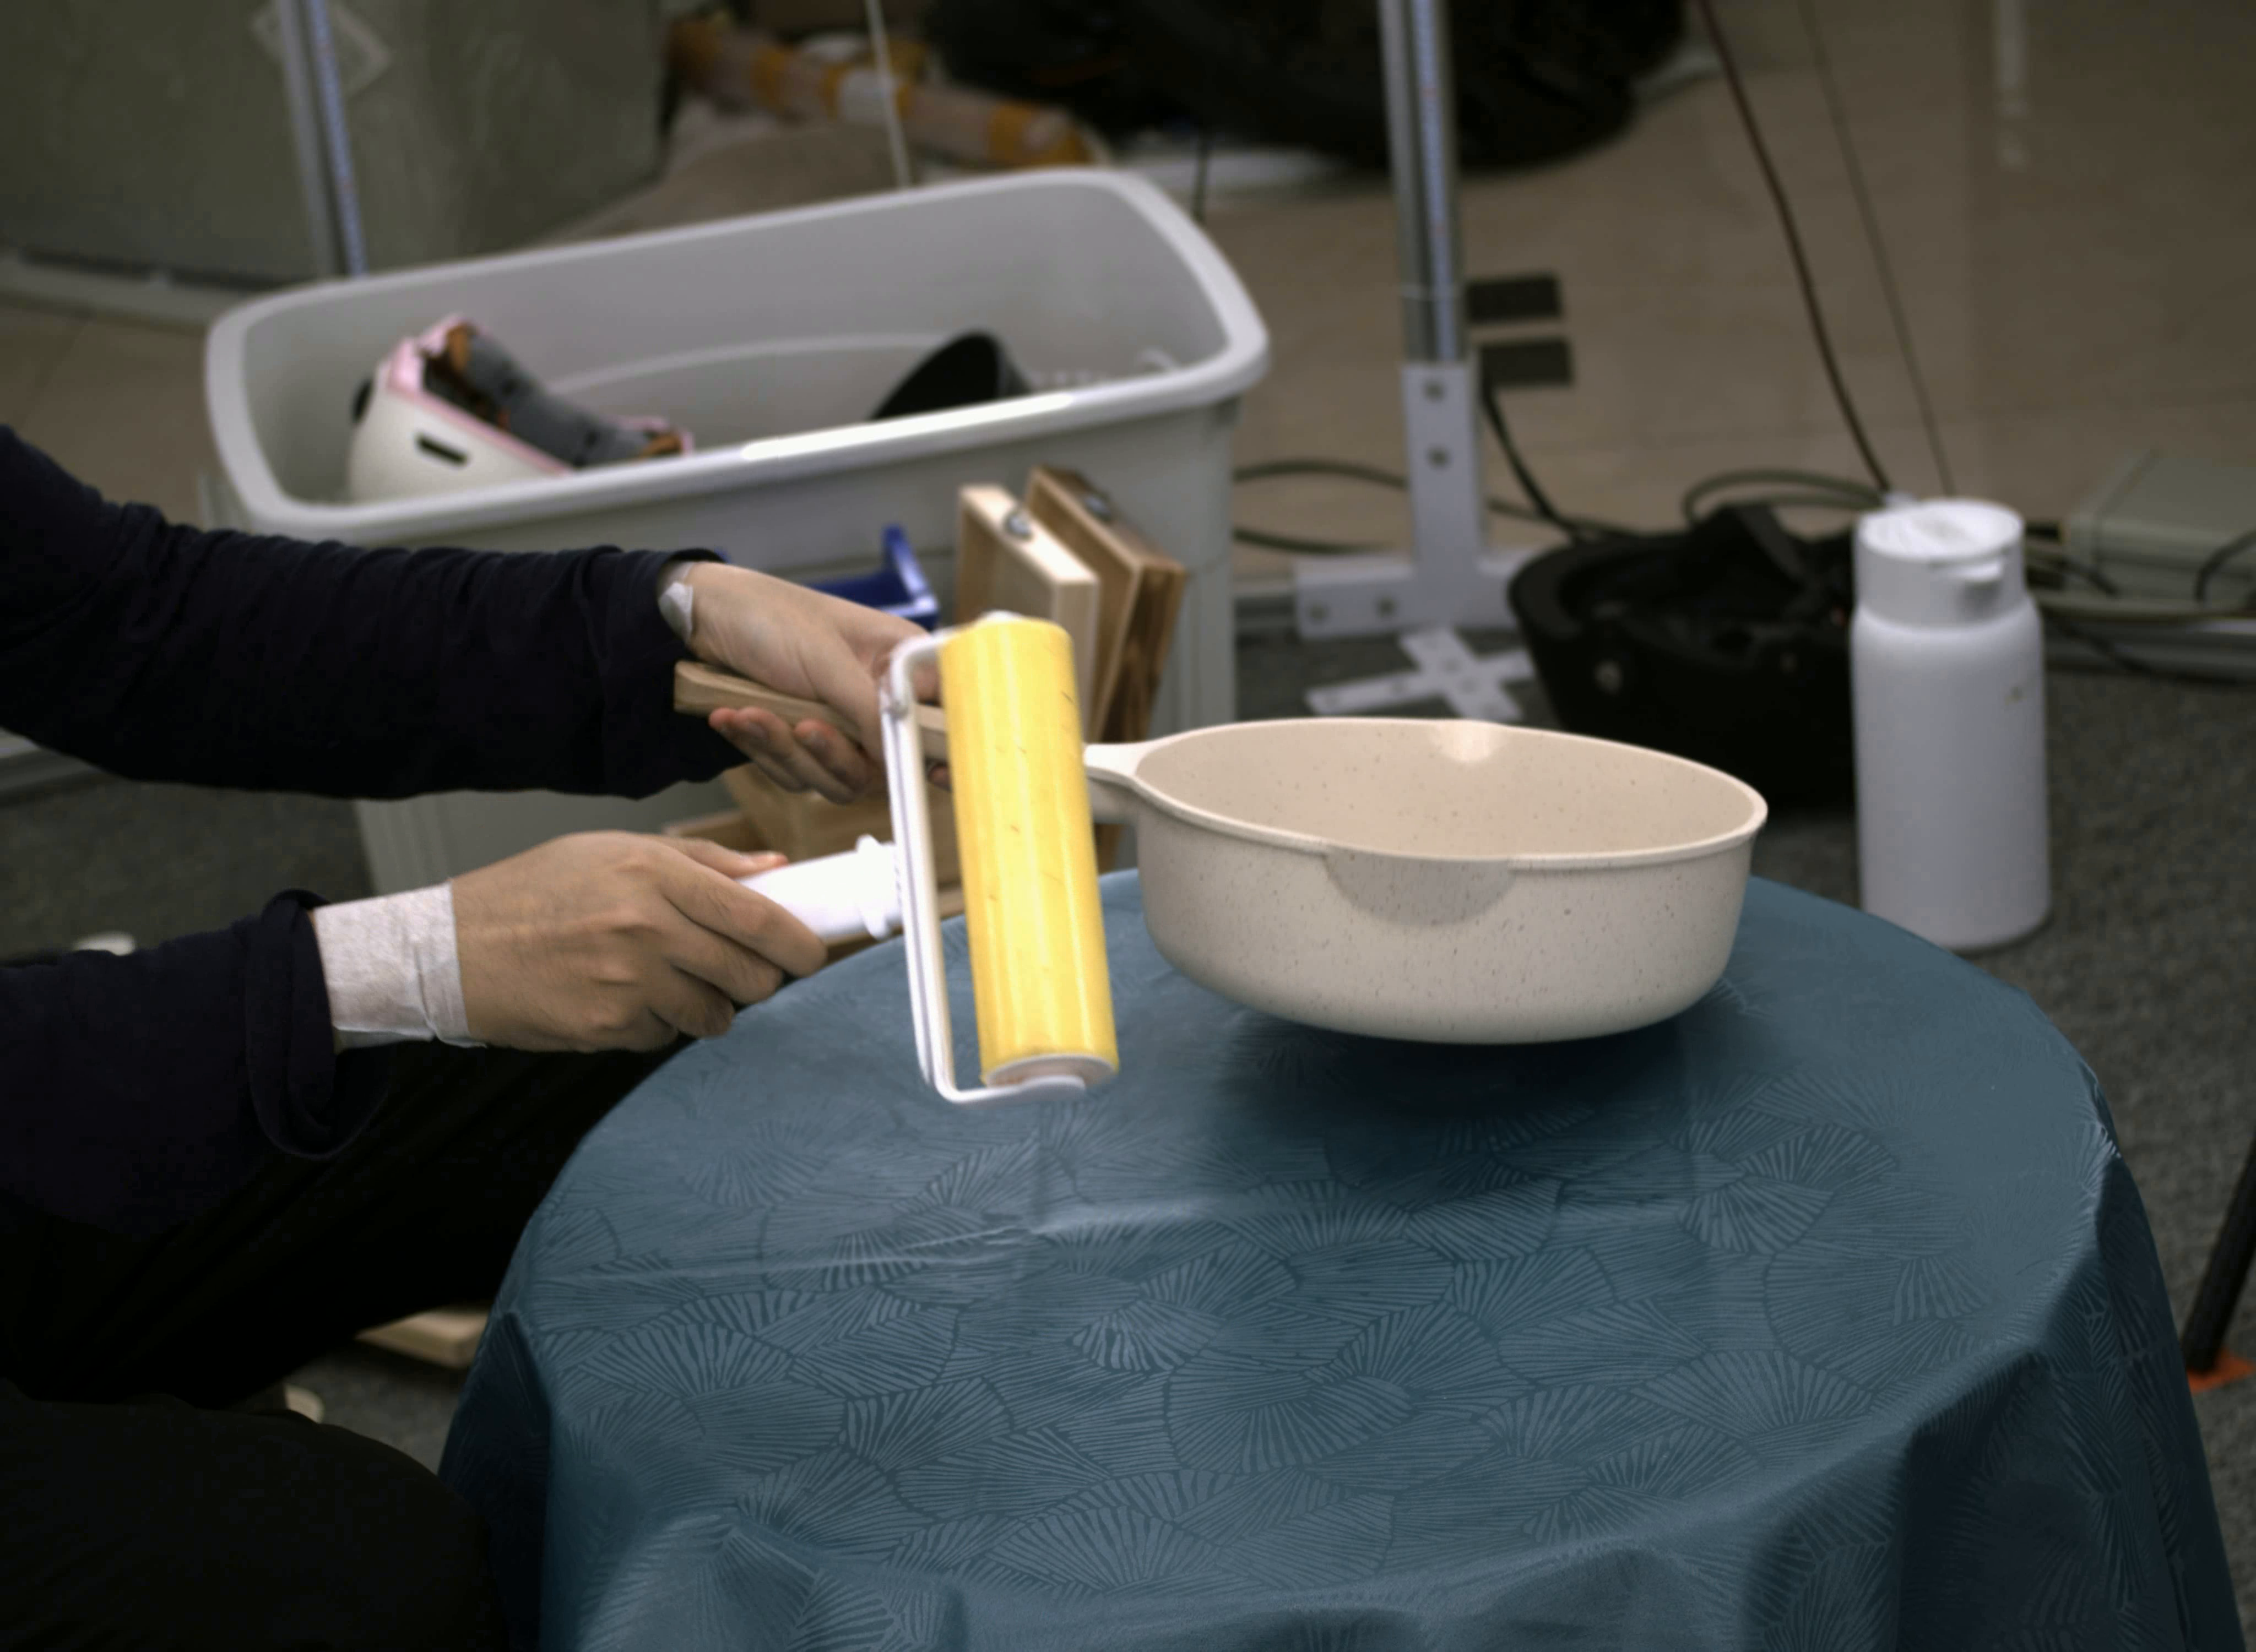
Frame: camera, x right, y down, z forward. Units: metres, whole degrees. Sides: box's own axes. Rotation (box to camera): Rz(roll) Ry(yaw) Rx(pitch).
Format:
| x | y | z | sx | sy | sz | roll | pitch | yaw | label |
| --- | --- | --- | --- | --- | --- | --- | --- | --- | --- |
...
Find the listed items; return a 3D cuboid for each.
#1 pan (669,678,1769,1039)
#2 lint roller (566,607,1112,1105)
| x | y | z | sx | sy | sz | roll | pitch | yaw | label |
| --- | --- | --- | --- | --- | --- | --- | --- | --- | --- |
| 0.032 | 0.006 | 2.232 | 0.434 | 0.103 | 0.261 | 4 | 14 | 6 | pan |
| -0.109 | 0.023 | 1.973 | 0.192 | 0.172 | 0.052 | -11 | -17 | 8 | lint roller |
